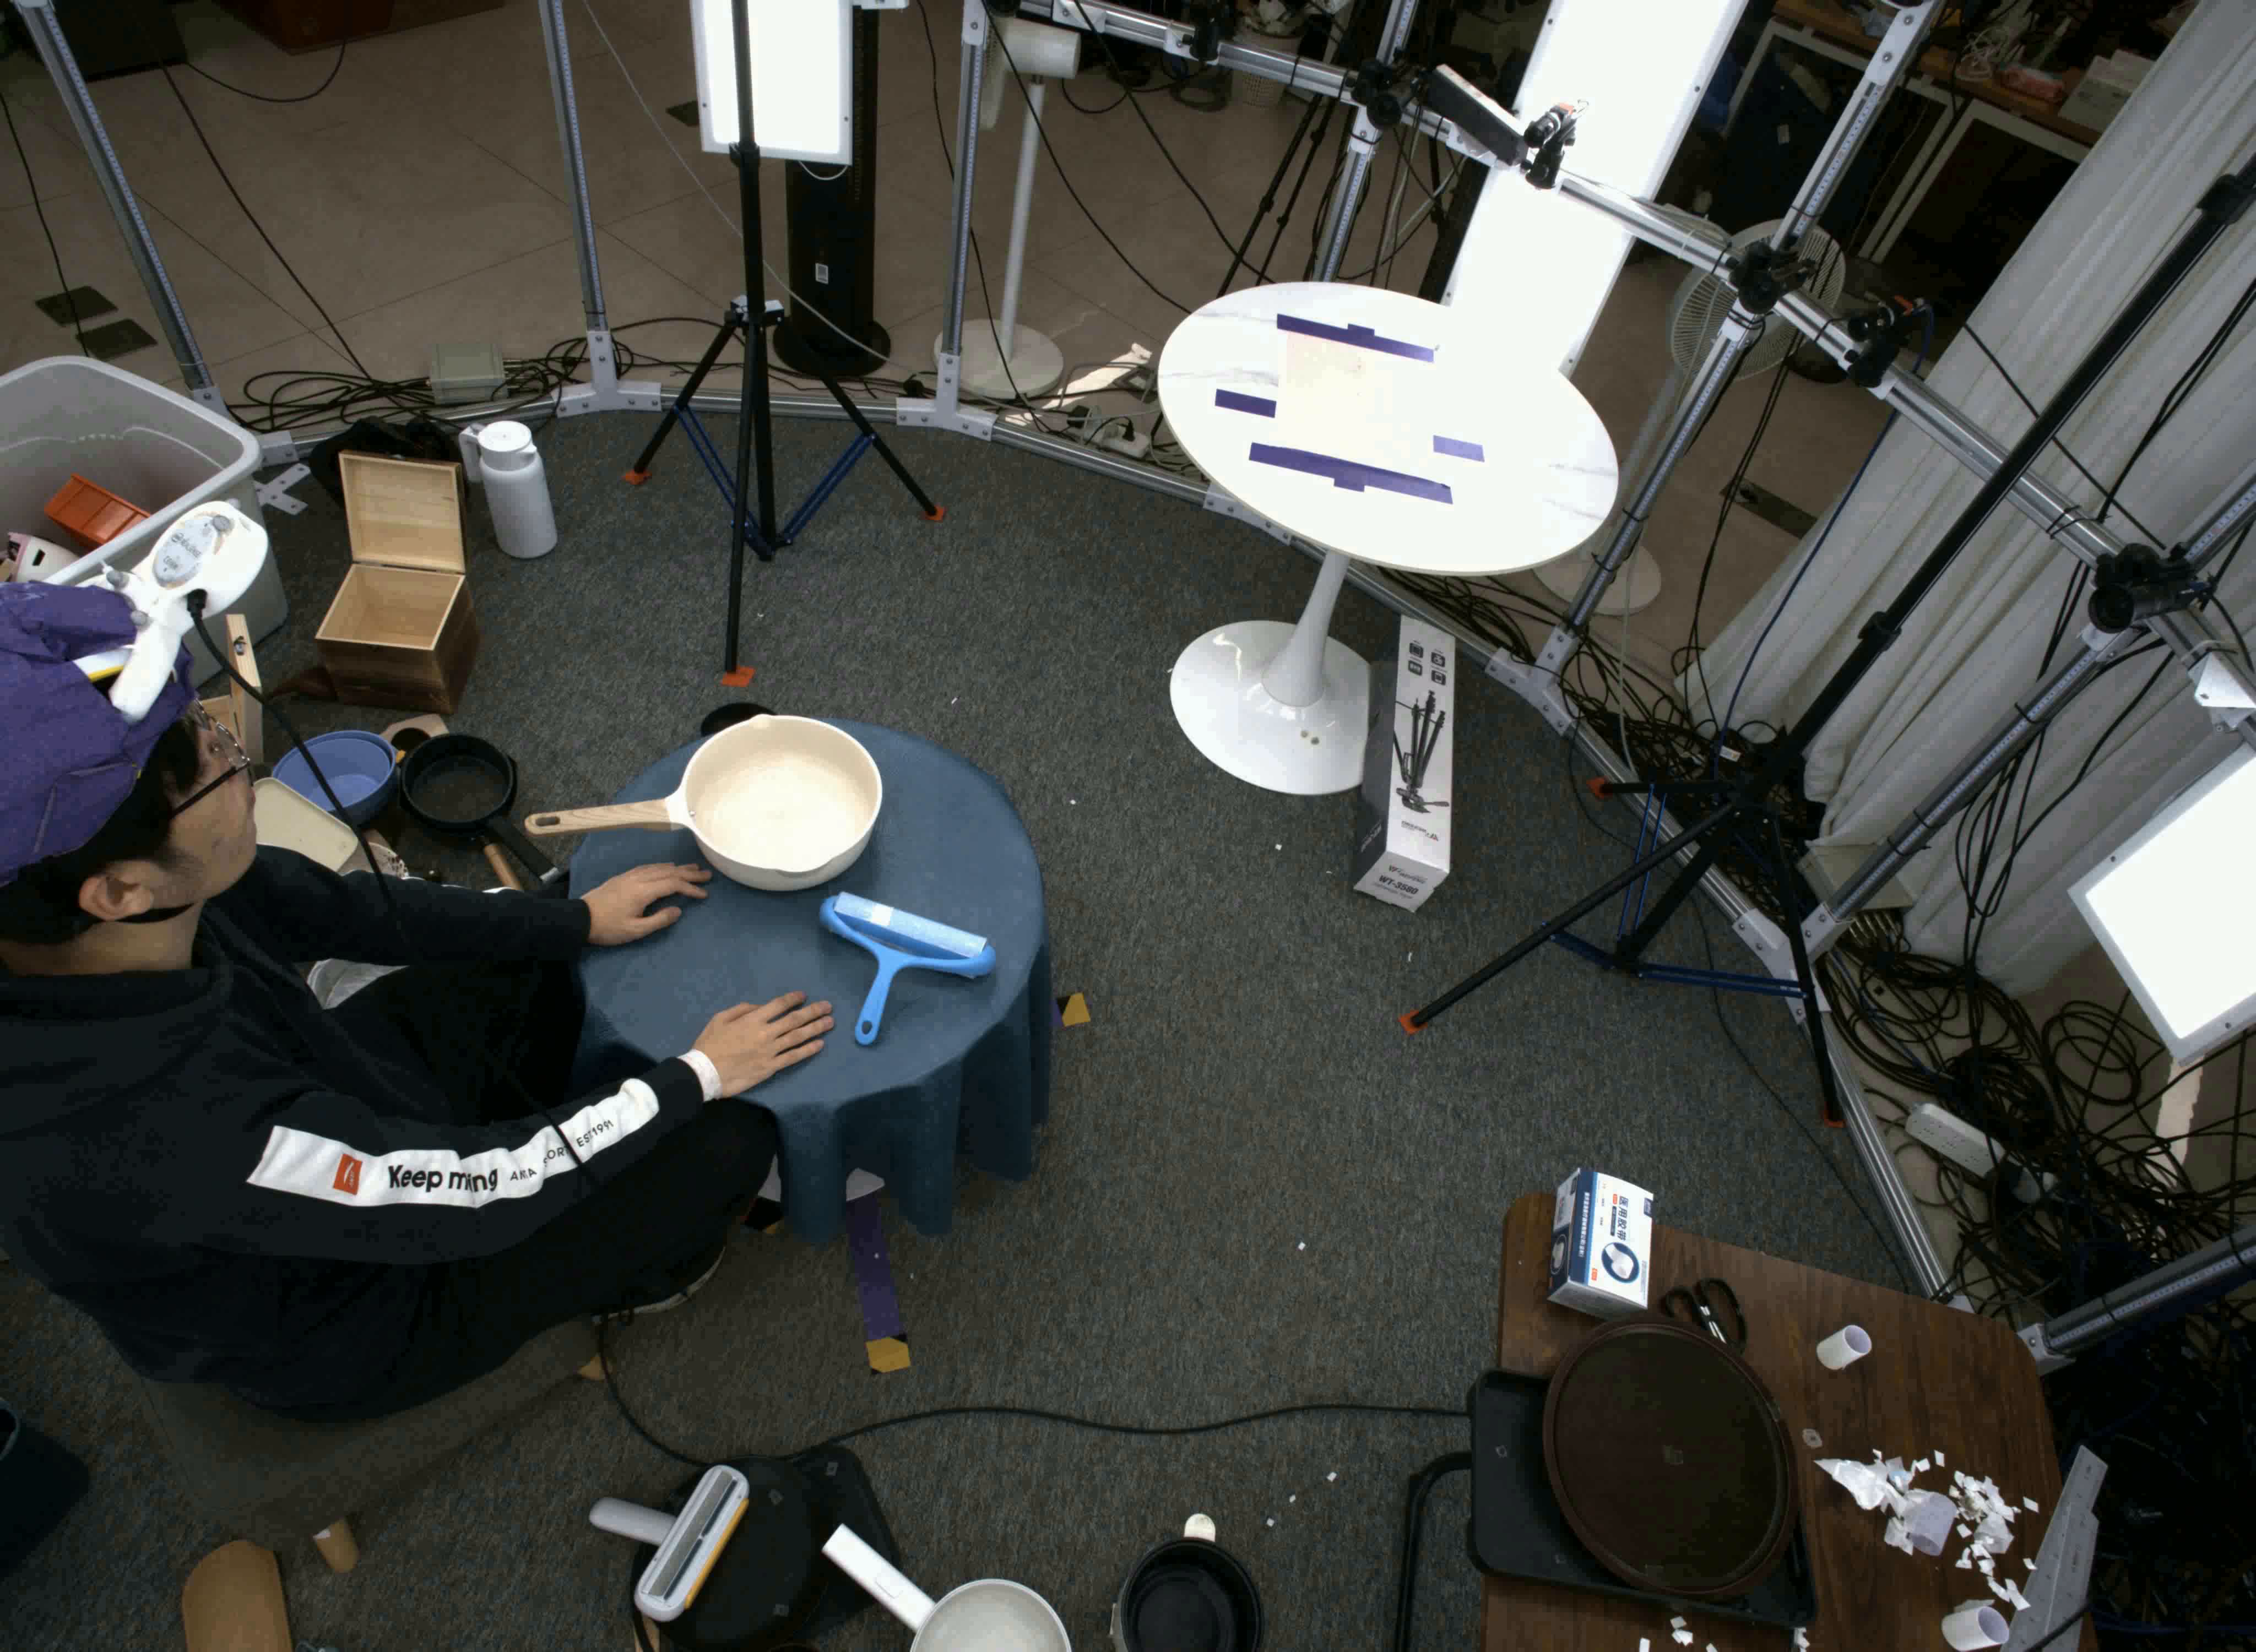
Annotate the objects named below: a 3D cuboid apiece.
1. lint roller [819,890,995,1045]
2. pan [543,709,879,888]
[{"bbox_3d":[-0.289,0.176,1.599,0.228,0.069,0.178,17,52,-4],"label":"lint roller"},{"bbox_3d":[-0.534,-0.014,1.647,0.437,0.104,0.257,-13,60,-23],"label":"pan"}]
